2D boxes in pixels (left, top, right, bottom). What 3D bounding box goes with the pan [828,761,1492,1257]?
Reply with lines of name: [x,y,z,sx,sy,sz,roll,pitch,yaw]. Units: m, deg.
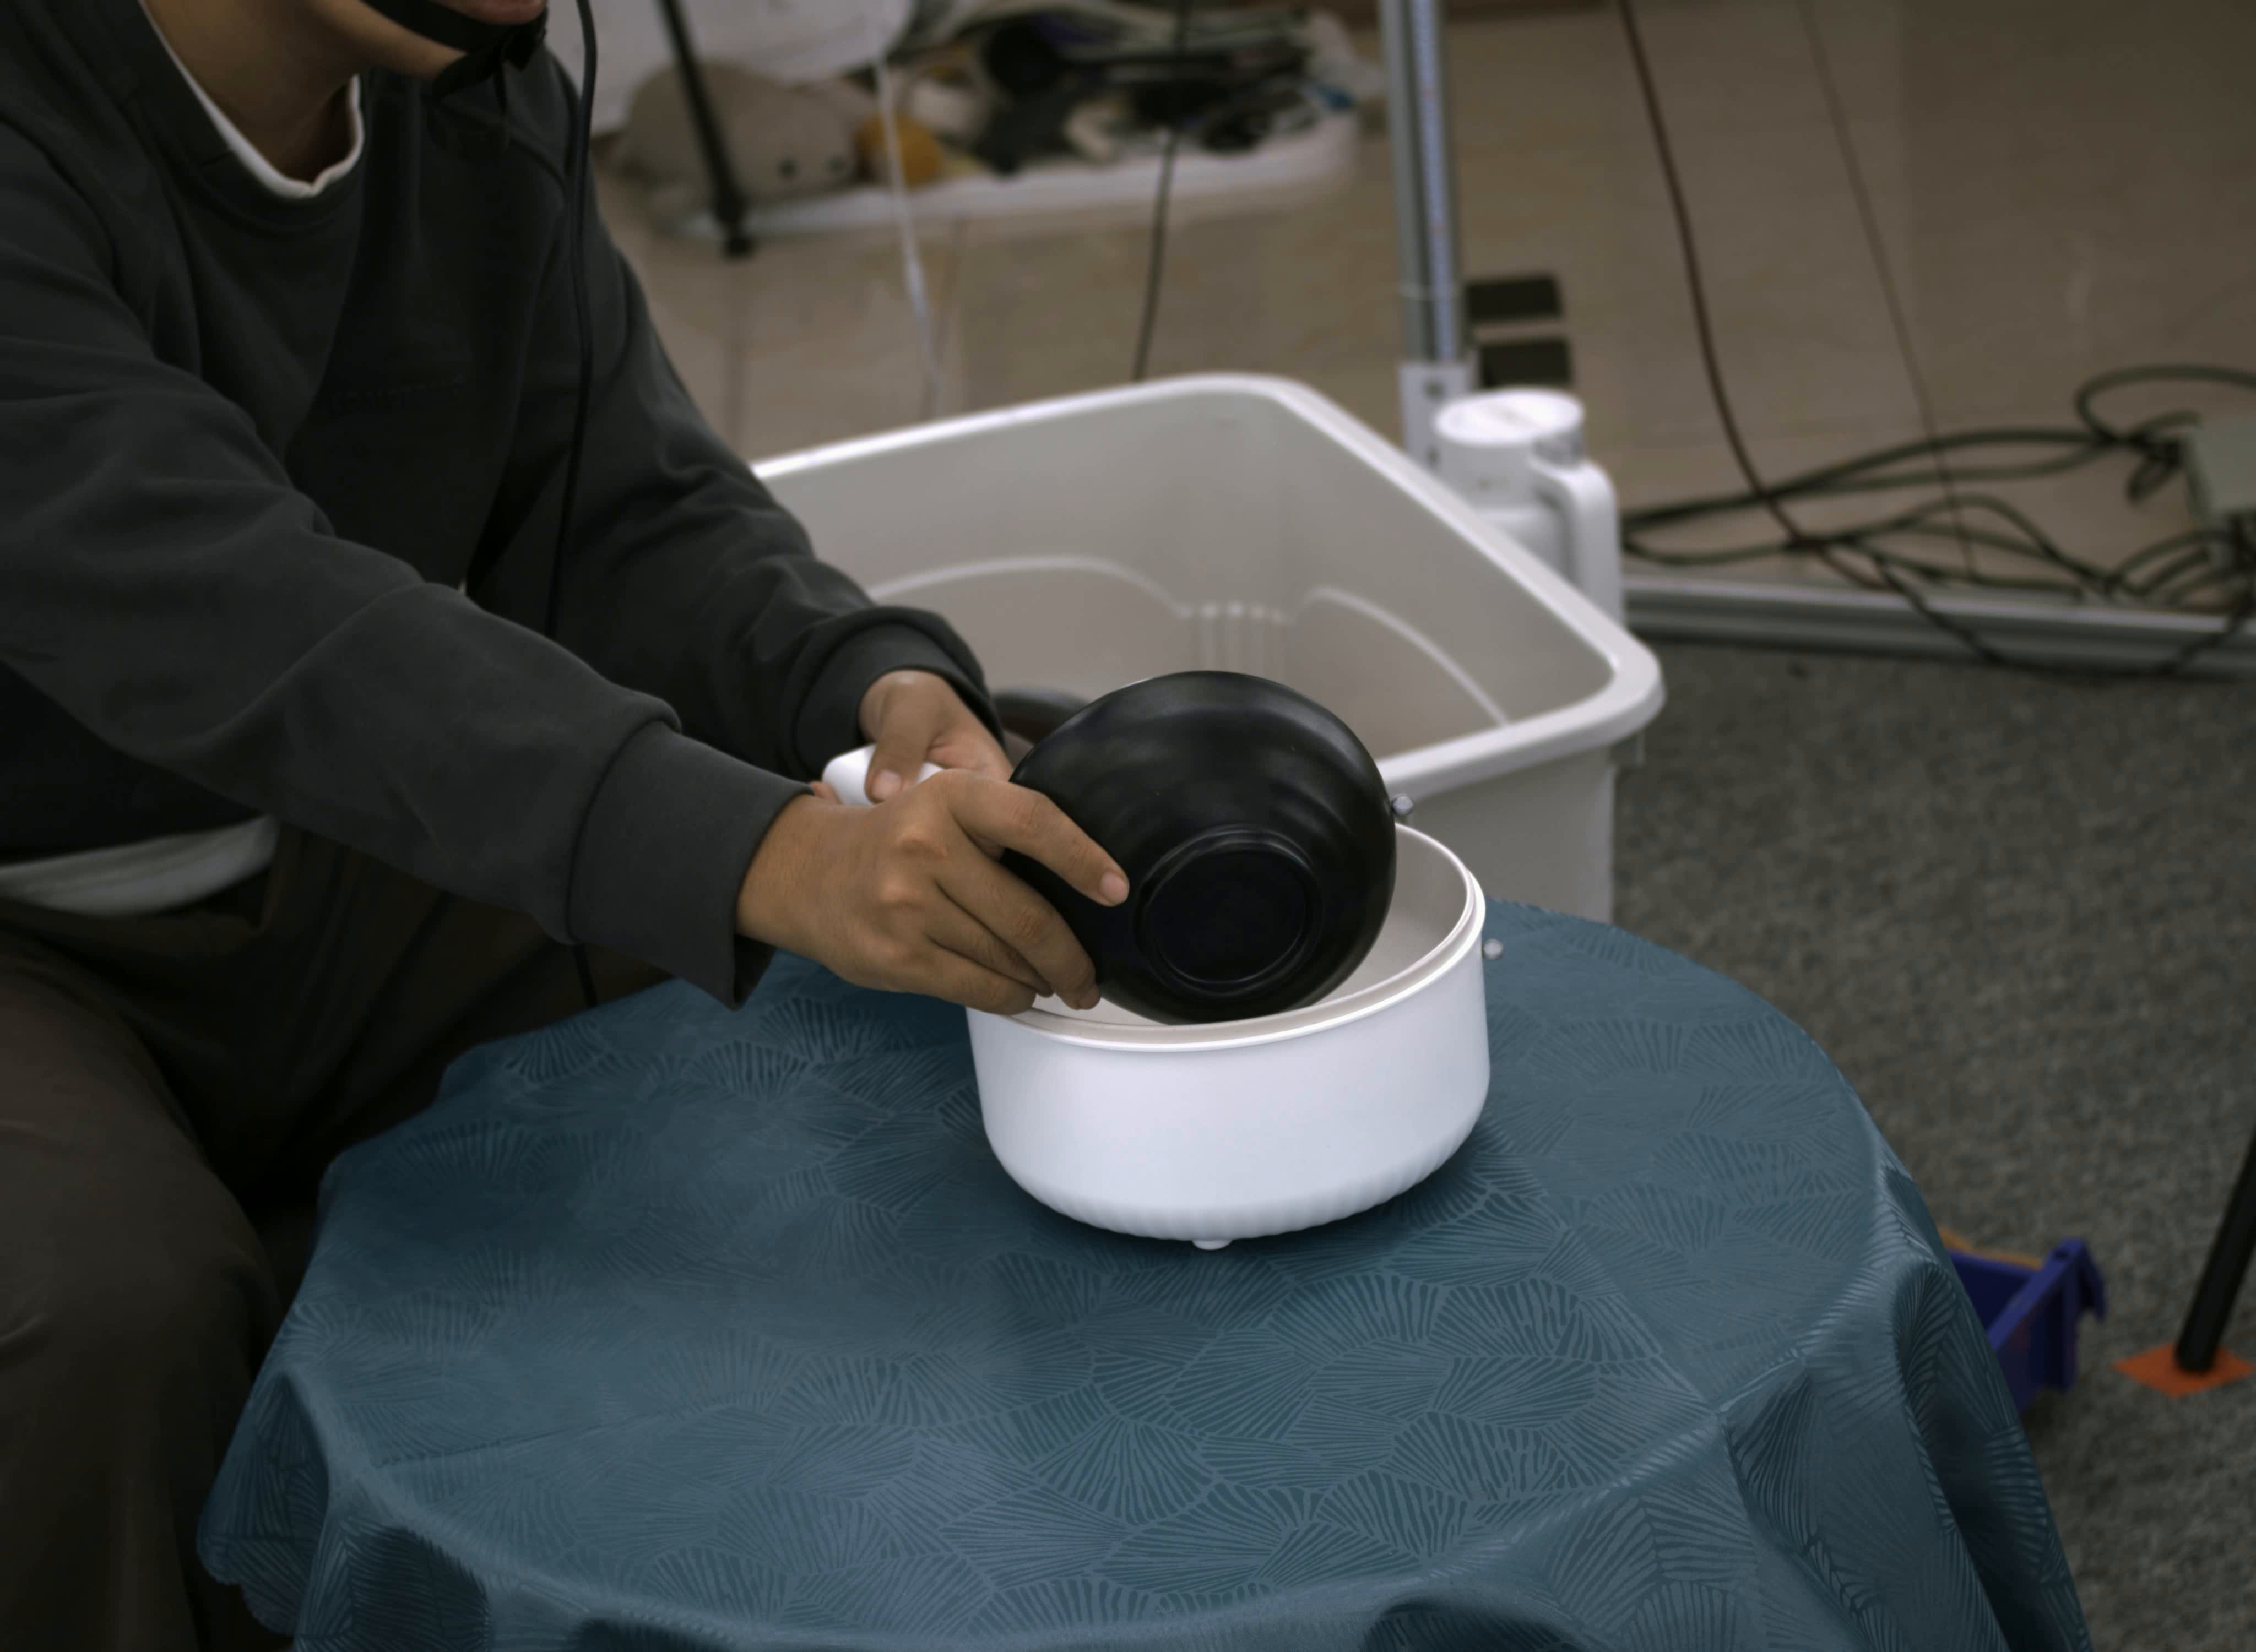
pan: [-0.005,0.063,2.208,0.200,0.103,0.351,-24,27,-29]

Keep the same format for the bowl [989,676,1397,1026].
bowl: [0.031,0.019,2.056,0.172,0.138,0.065,31,19,-33]
